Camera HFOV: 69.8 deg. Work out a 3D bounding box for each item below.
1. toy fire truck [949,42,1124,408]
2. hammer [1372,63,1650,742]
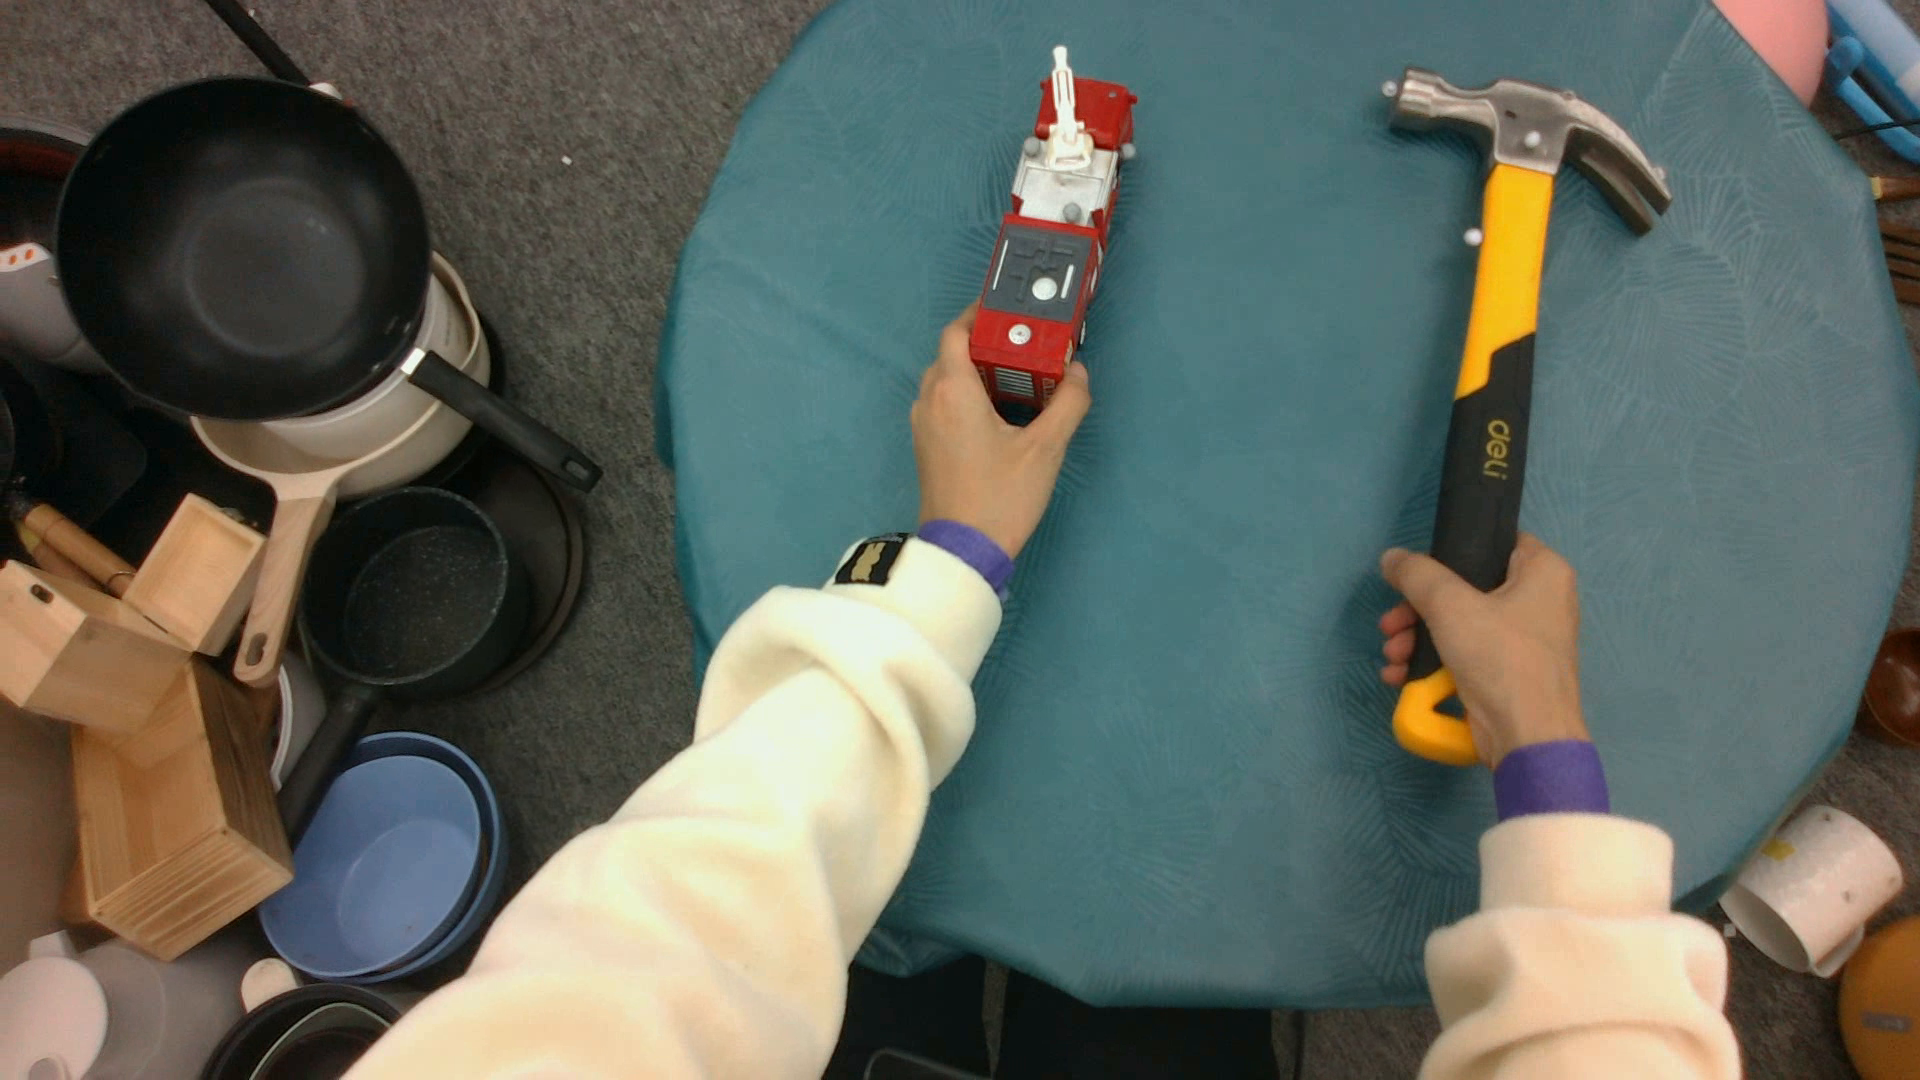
[{"bbox_3d":[0.038,-0.147,0.656,0.054,0.070,0.168,11,73,13],"label":"toy fire truck"},{"bbox_3d":[0.235,-0.072,0.629,0.131,0.032,0.339,14,68,4],"label":"hammer"}]
